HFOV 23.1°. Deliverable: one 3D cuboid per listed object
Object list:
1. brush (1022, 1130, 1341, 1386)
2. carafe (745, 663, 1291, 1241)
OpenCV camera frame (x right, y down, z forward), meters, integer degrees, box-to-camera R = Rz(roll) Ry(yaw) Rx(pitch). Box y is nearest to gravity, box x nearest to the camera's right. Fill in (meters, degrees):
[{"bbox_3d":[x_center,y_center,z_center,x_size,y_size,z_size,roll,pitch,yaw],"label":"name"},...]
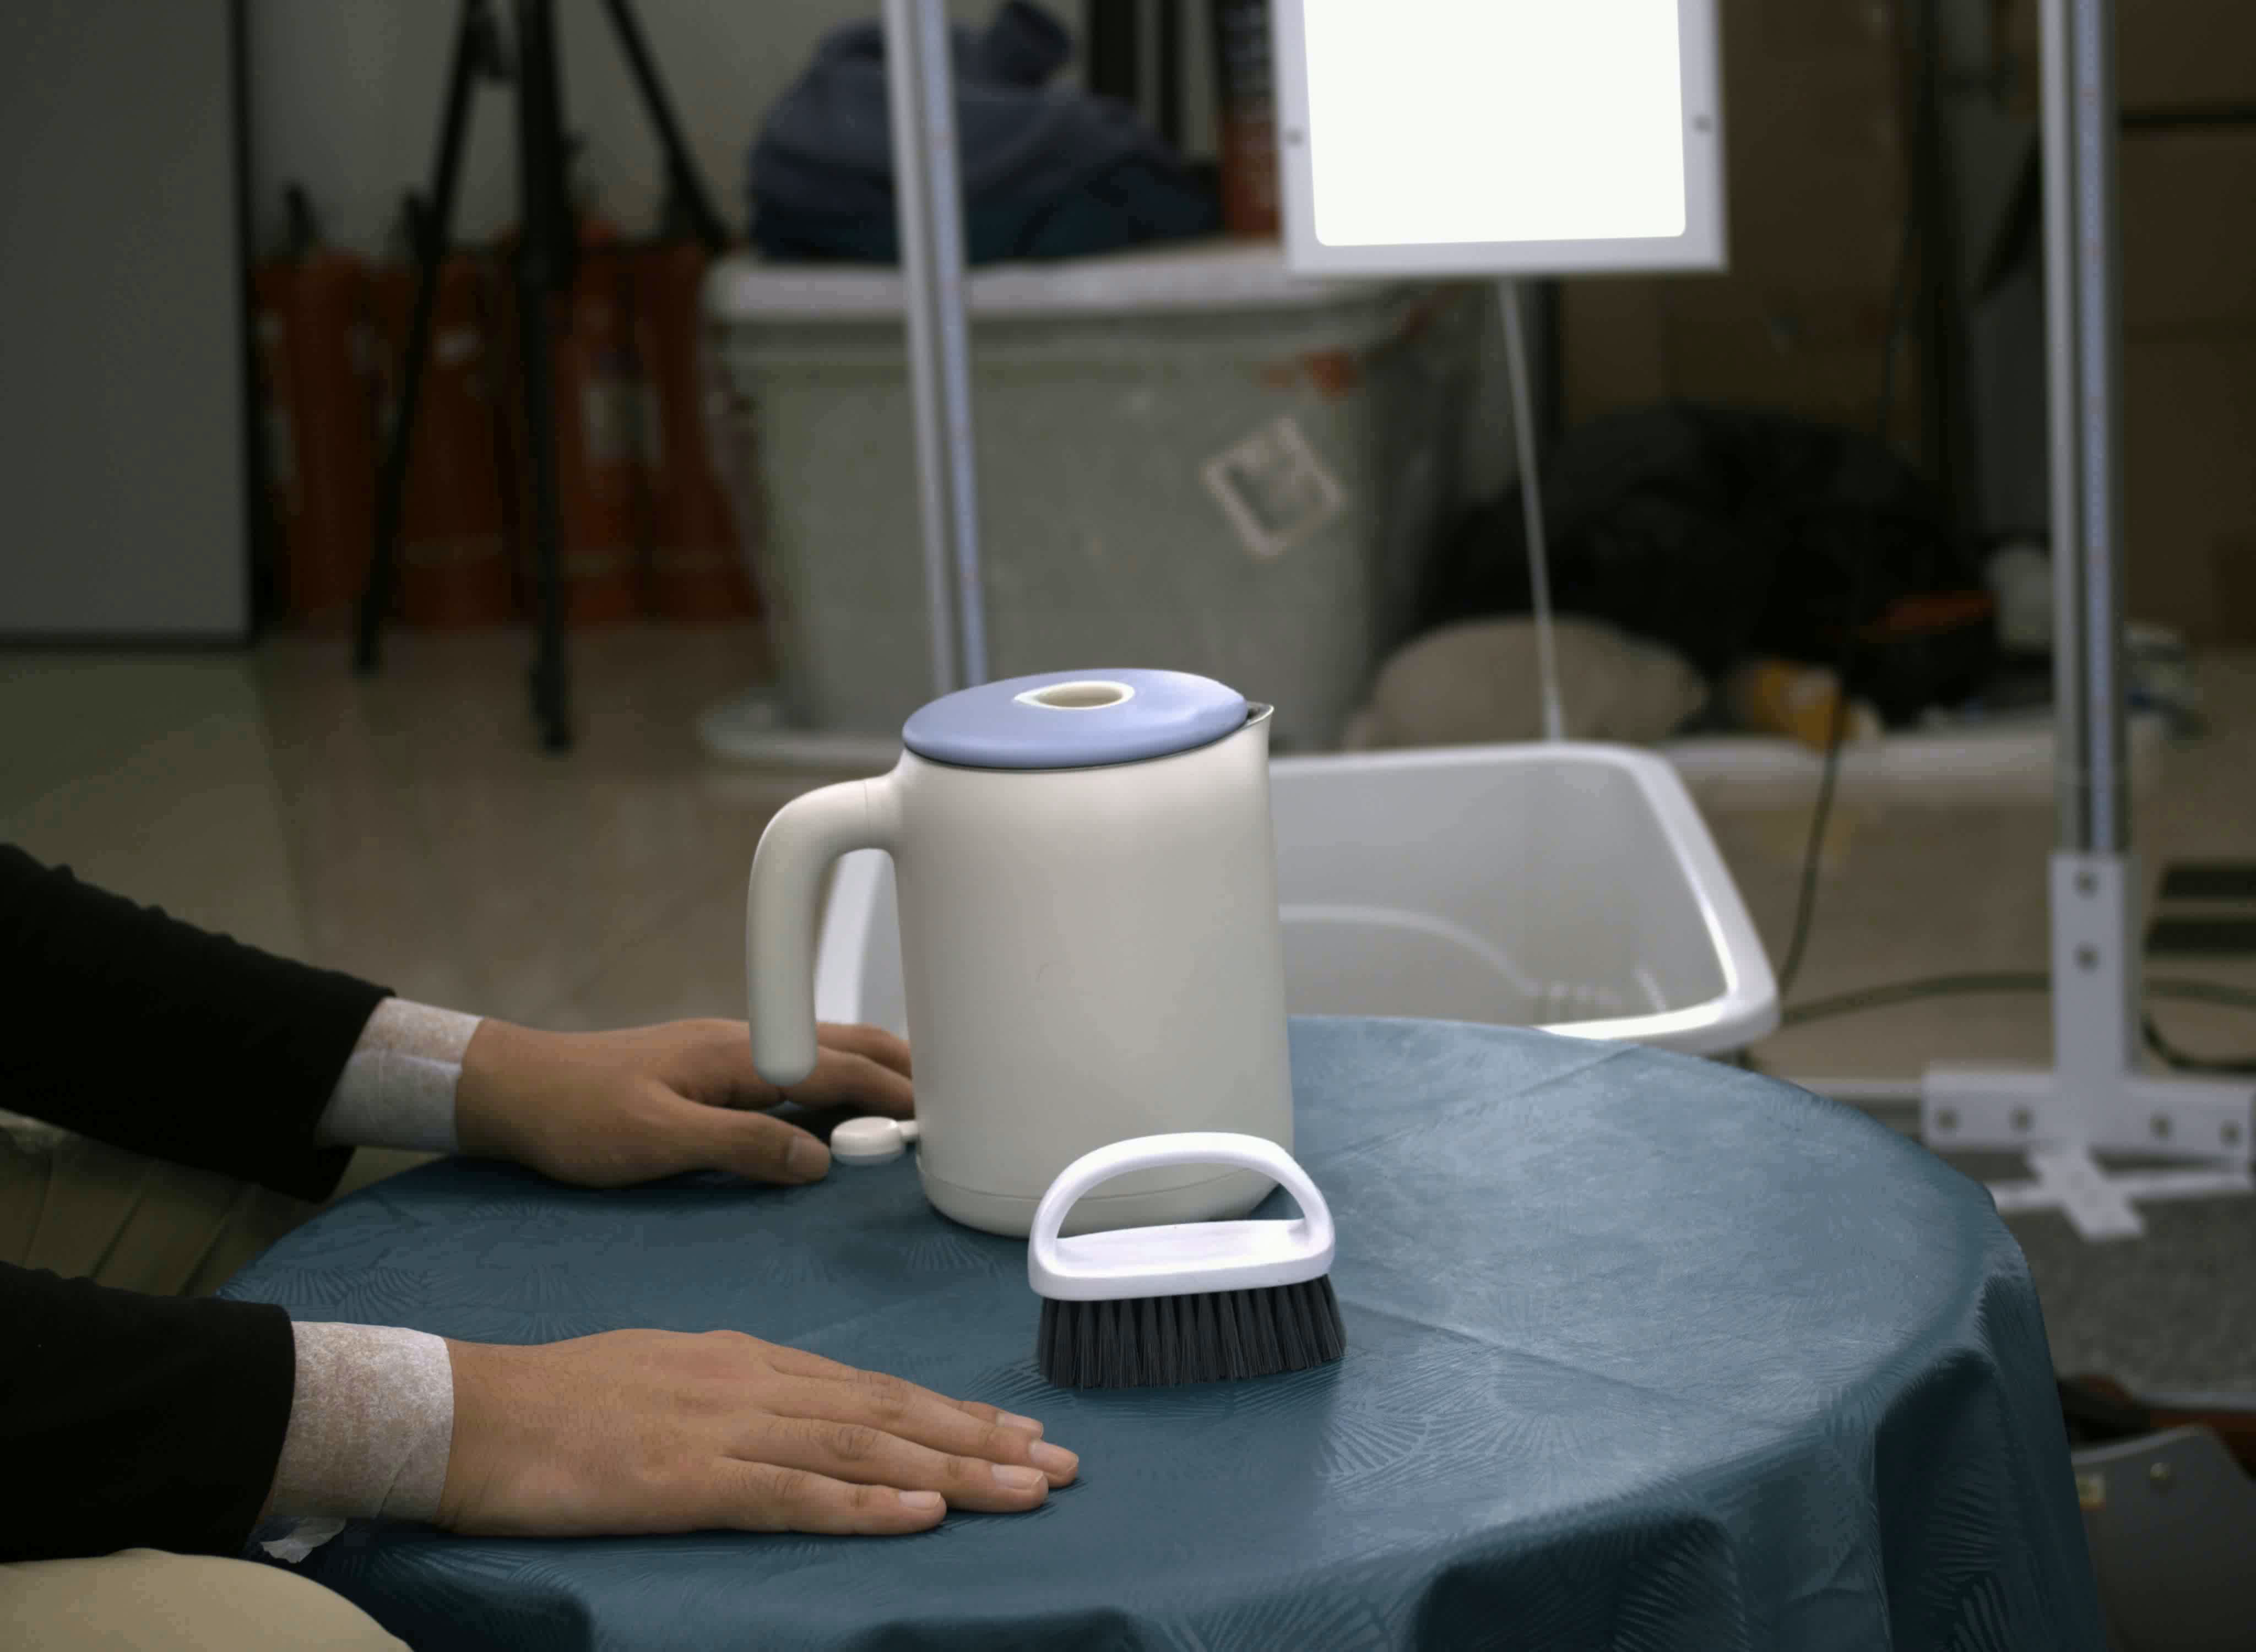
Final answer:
[{"bbox_3d":[0.015,0.131,1.718,0.099,0.073,0.050,-4,14,3],"label":"brush"},{"bbox_3d":[-0.038,0.045,1.882,0.189,0.183,0.133,-7,14,-6],"label":"carafe"}]
